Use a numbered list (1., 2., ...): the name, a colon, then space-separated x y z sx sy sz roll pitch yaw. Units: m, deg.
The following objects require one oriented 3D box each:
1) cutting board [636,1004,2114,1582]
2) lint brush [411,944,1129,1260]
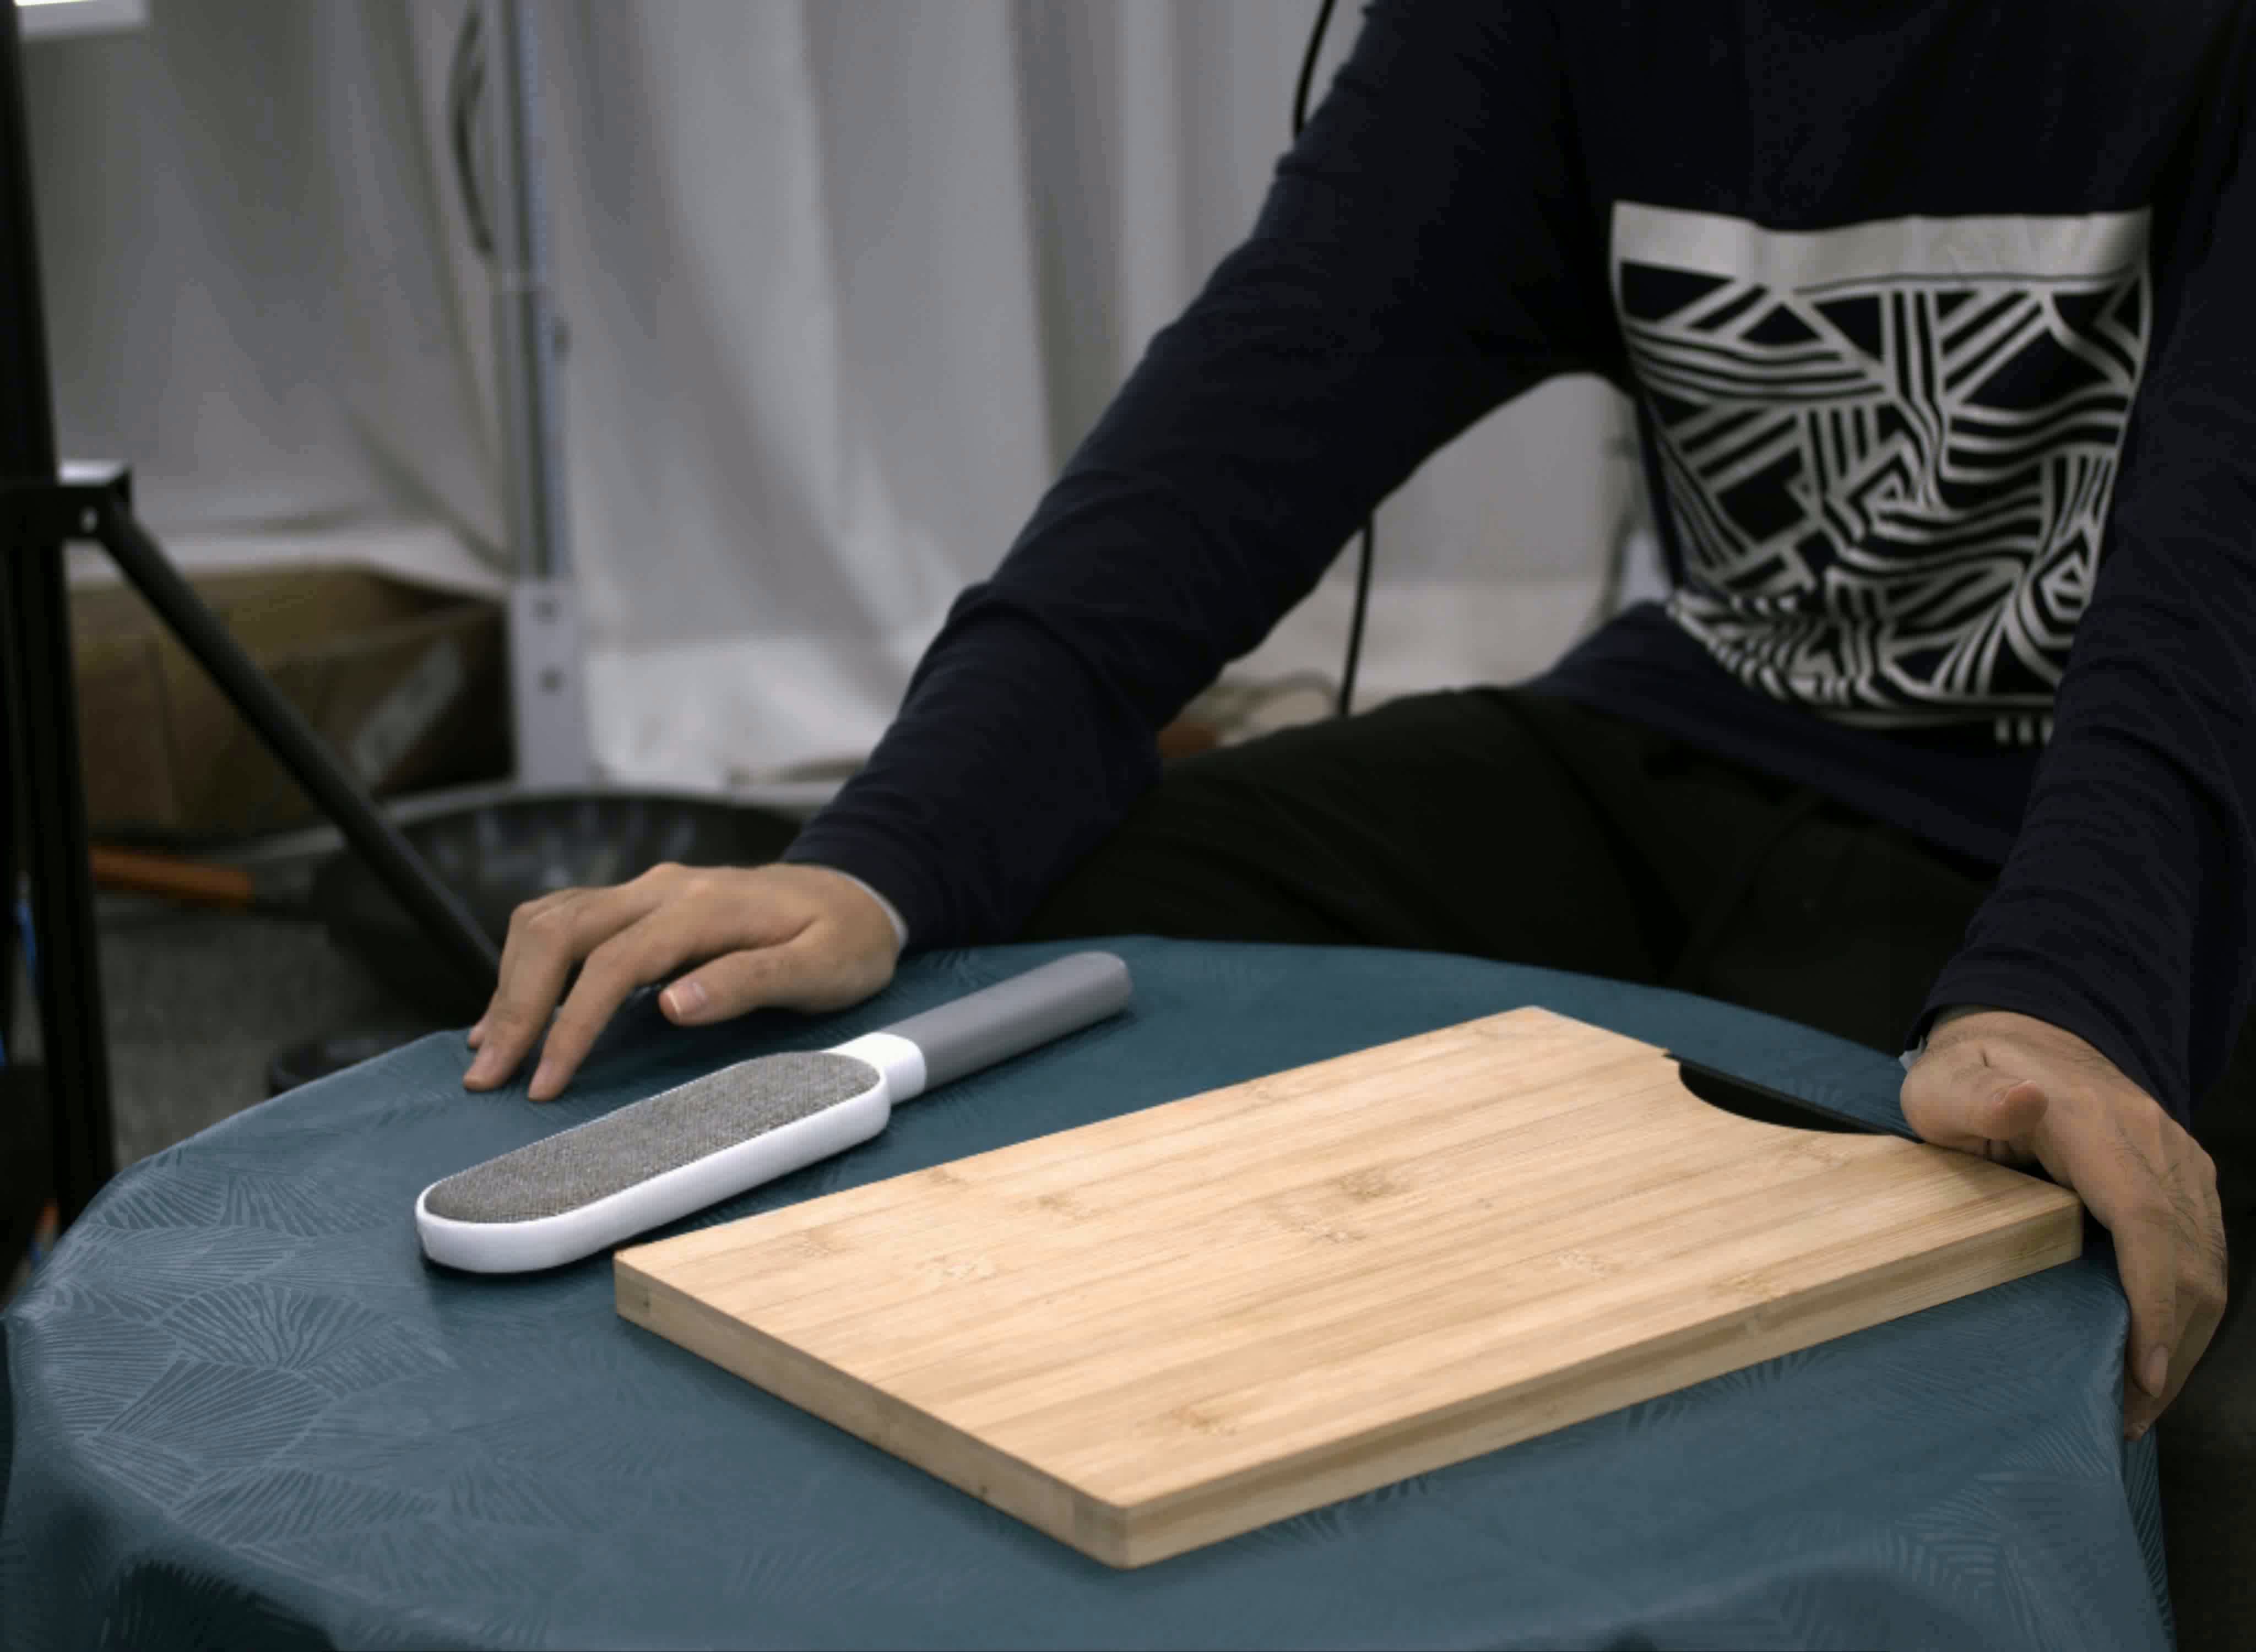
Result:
1. cutting board: 0.068 0.120 1.480 0.340 0.023 0.256 -13 20 -34
2. lint brush: -0.099 0.081 1.622 0.061 0.021 0.302 4 16 40
